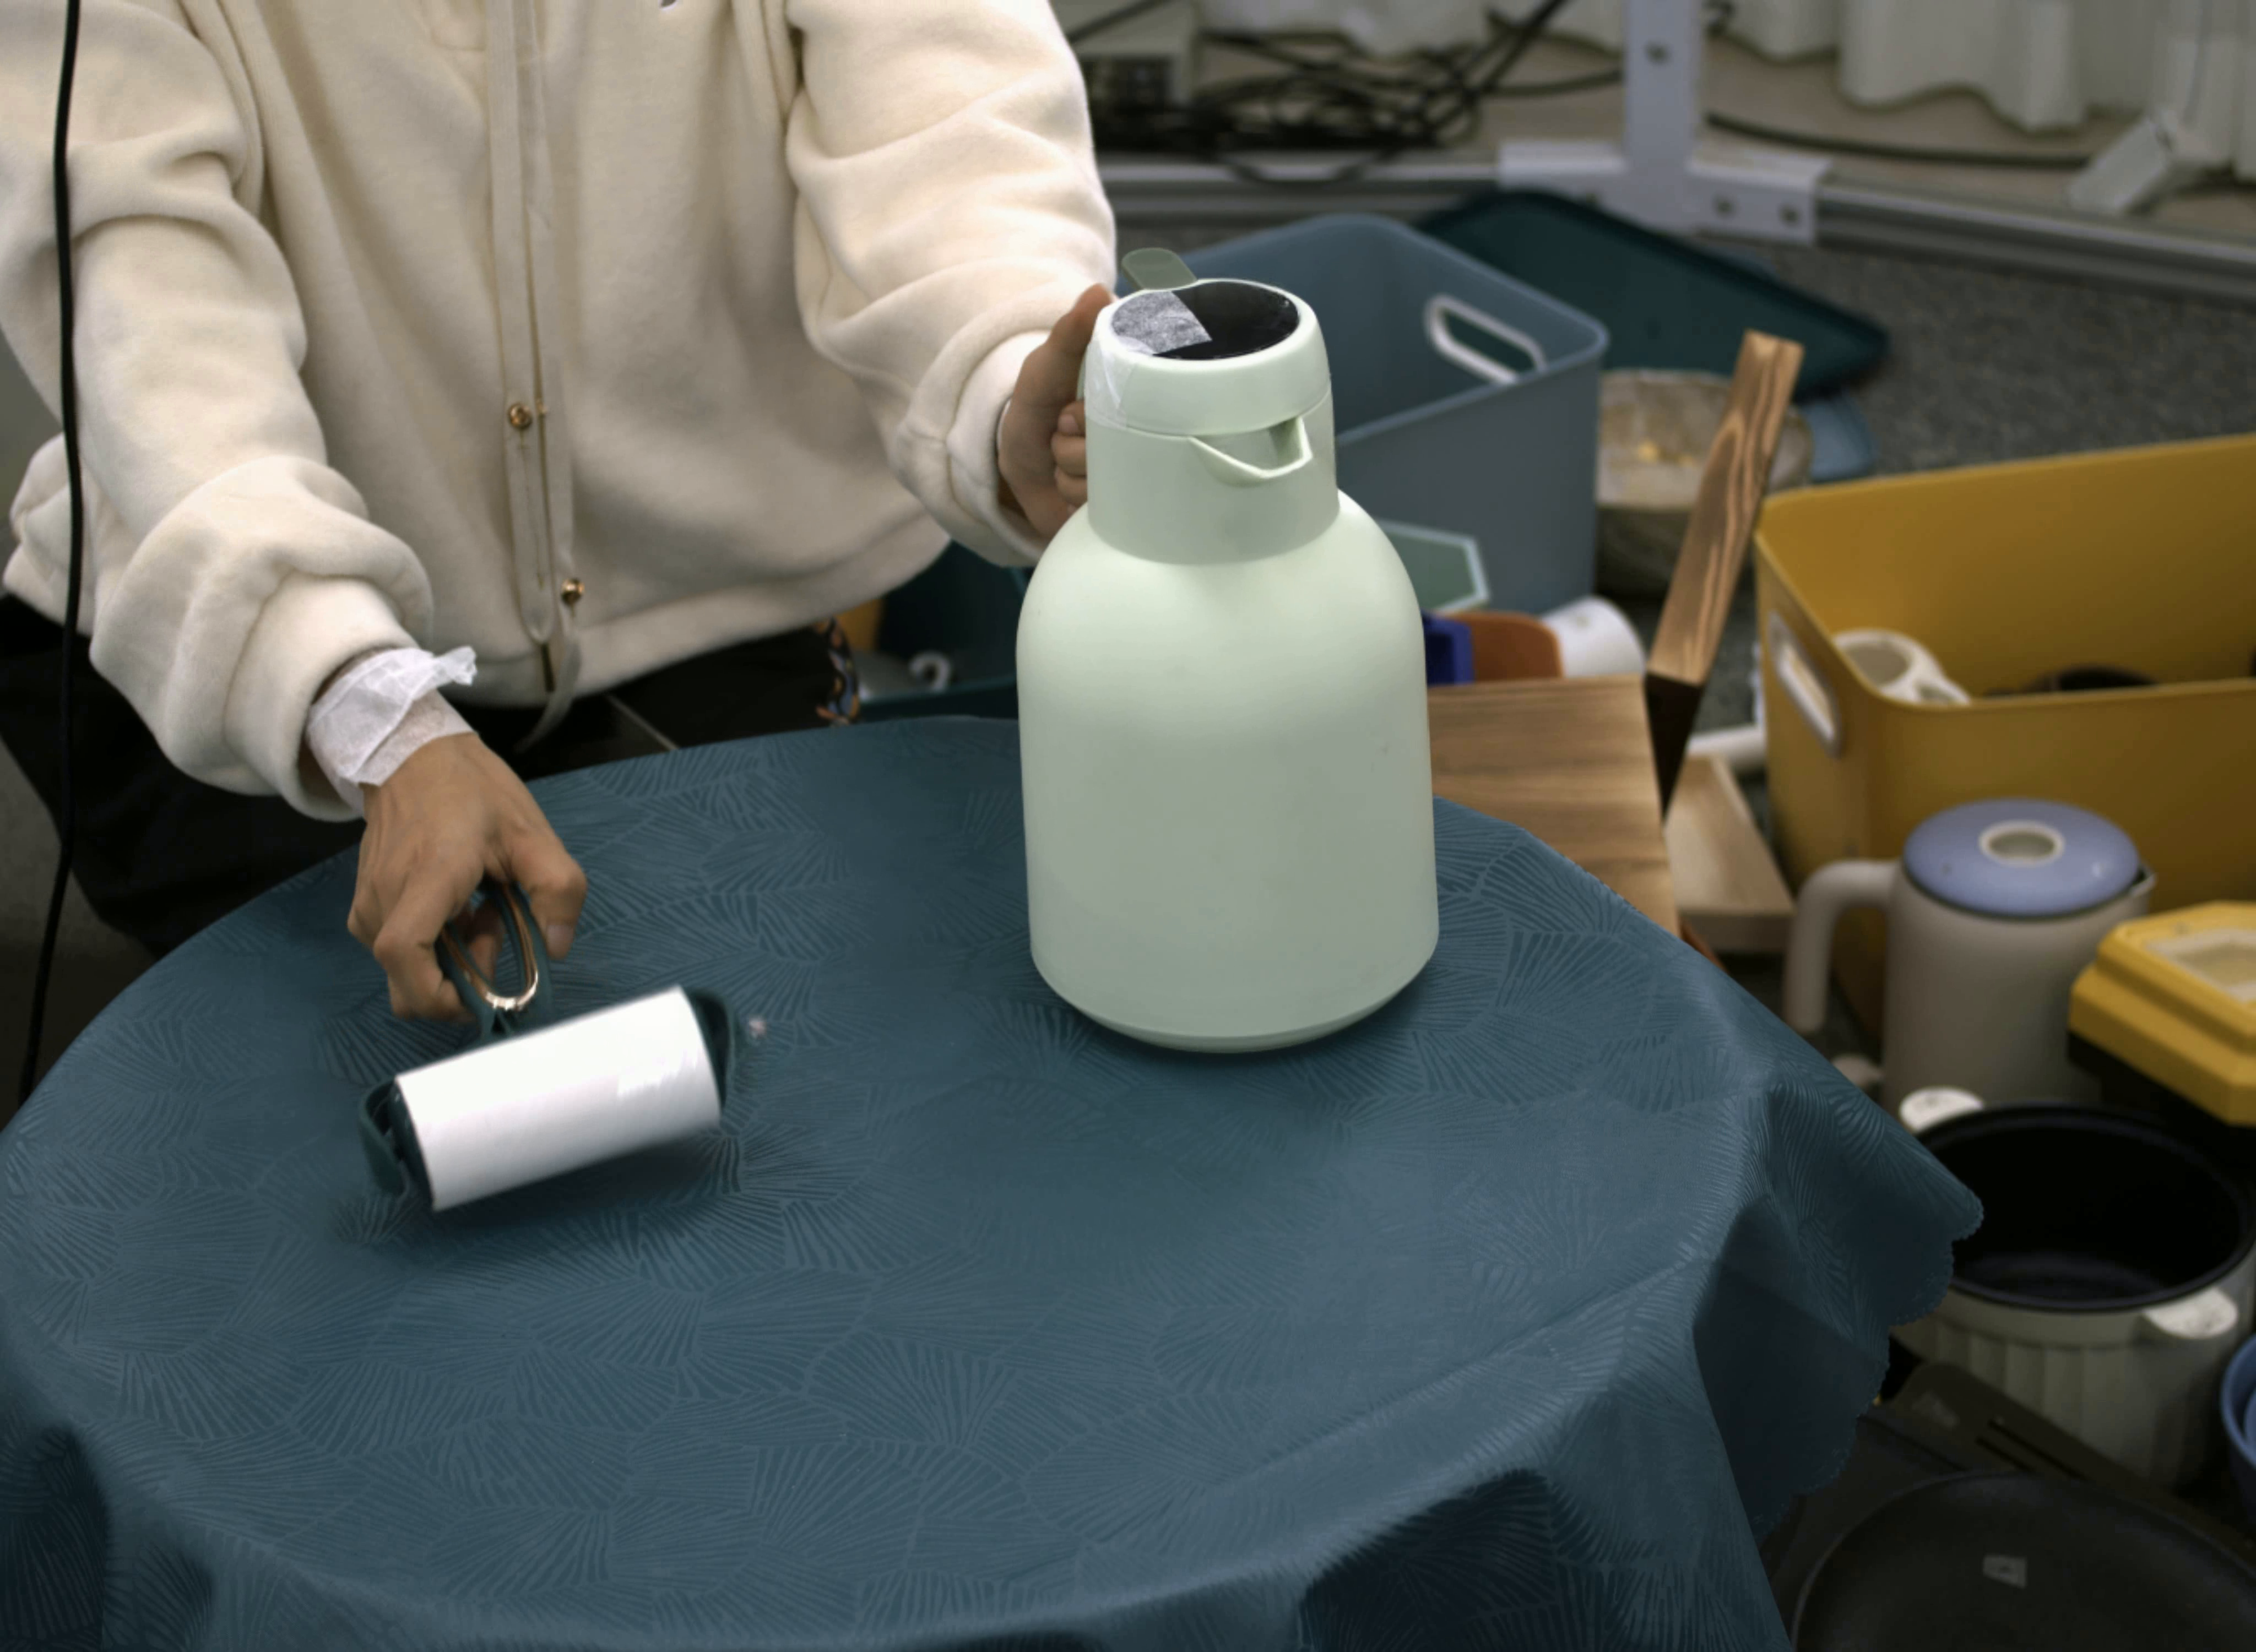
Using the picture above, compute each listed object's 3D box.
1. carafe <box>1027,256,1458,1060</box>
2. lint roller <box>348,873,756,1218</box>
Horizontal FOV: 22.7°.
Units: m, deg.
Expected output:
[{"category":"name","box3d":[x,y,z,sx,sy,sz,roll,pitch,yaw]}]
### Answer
[{"category":"carafe","box3d":[0.030,-0.064,1.949,0.144,0.254,0.188,-13,25,-15]},{"category":"lint roller","box3d":[-0.212,0.056,1.913,0.134,0.047,0.182,-13,40,-13]}]
